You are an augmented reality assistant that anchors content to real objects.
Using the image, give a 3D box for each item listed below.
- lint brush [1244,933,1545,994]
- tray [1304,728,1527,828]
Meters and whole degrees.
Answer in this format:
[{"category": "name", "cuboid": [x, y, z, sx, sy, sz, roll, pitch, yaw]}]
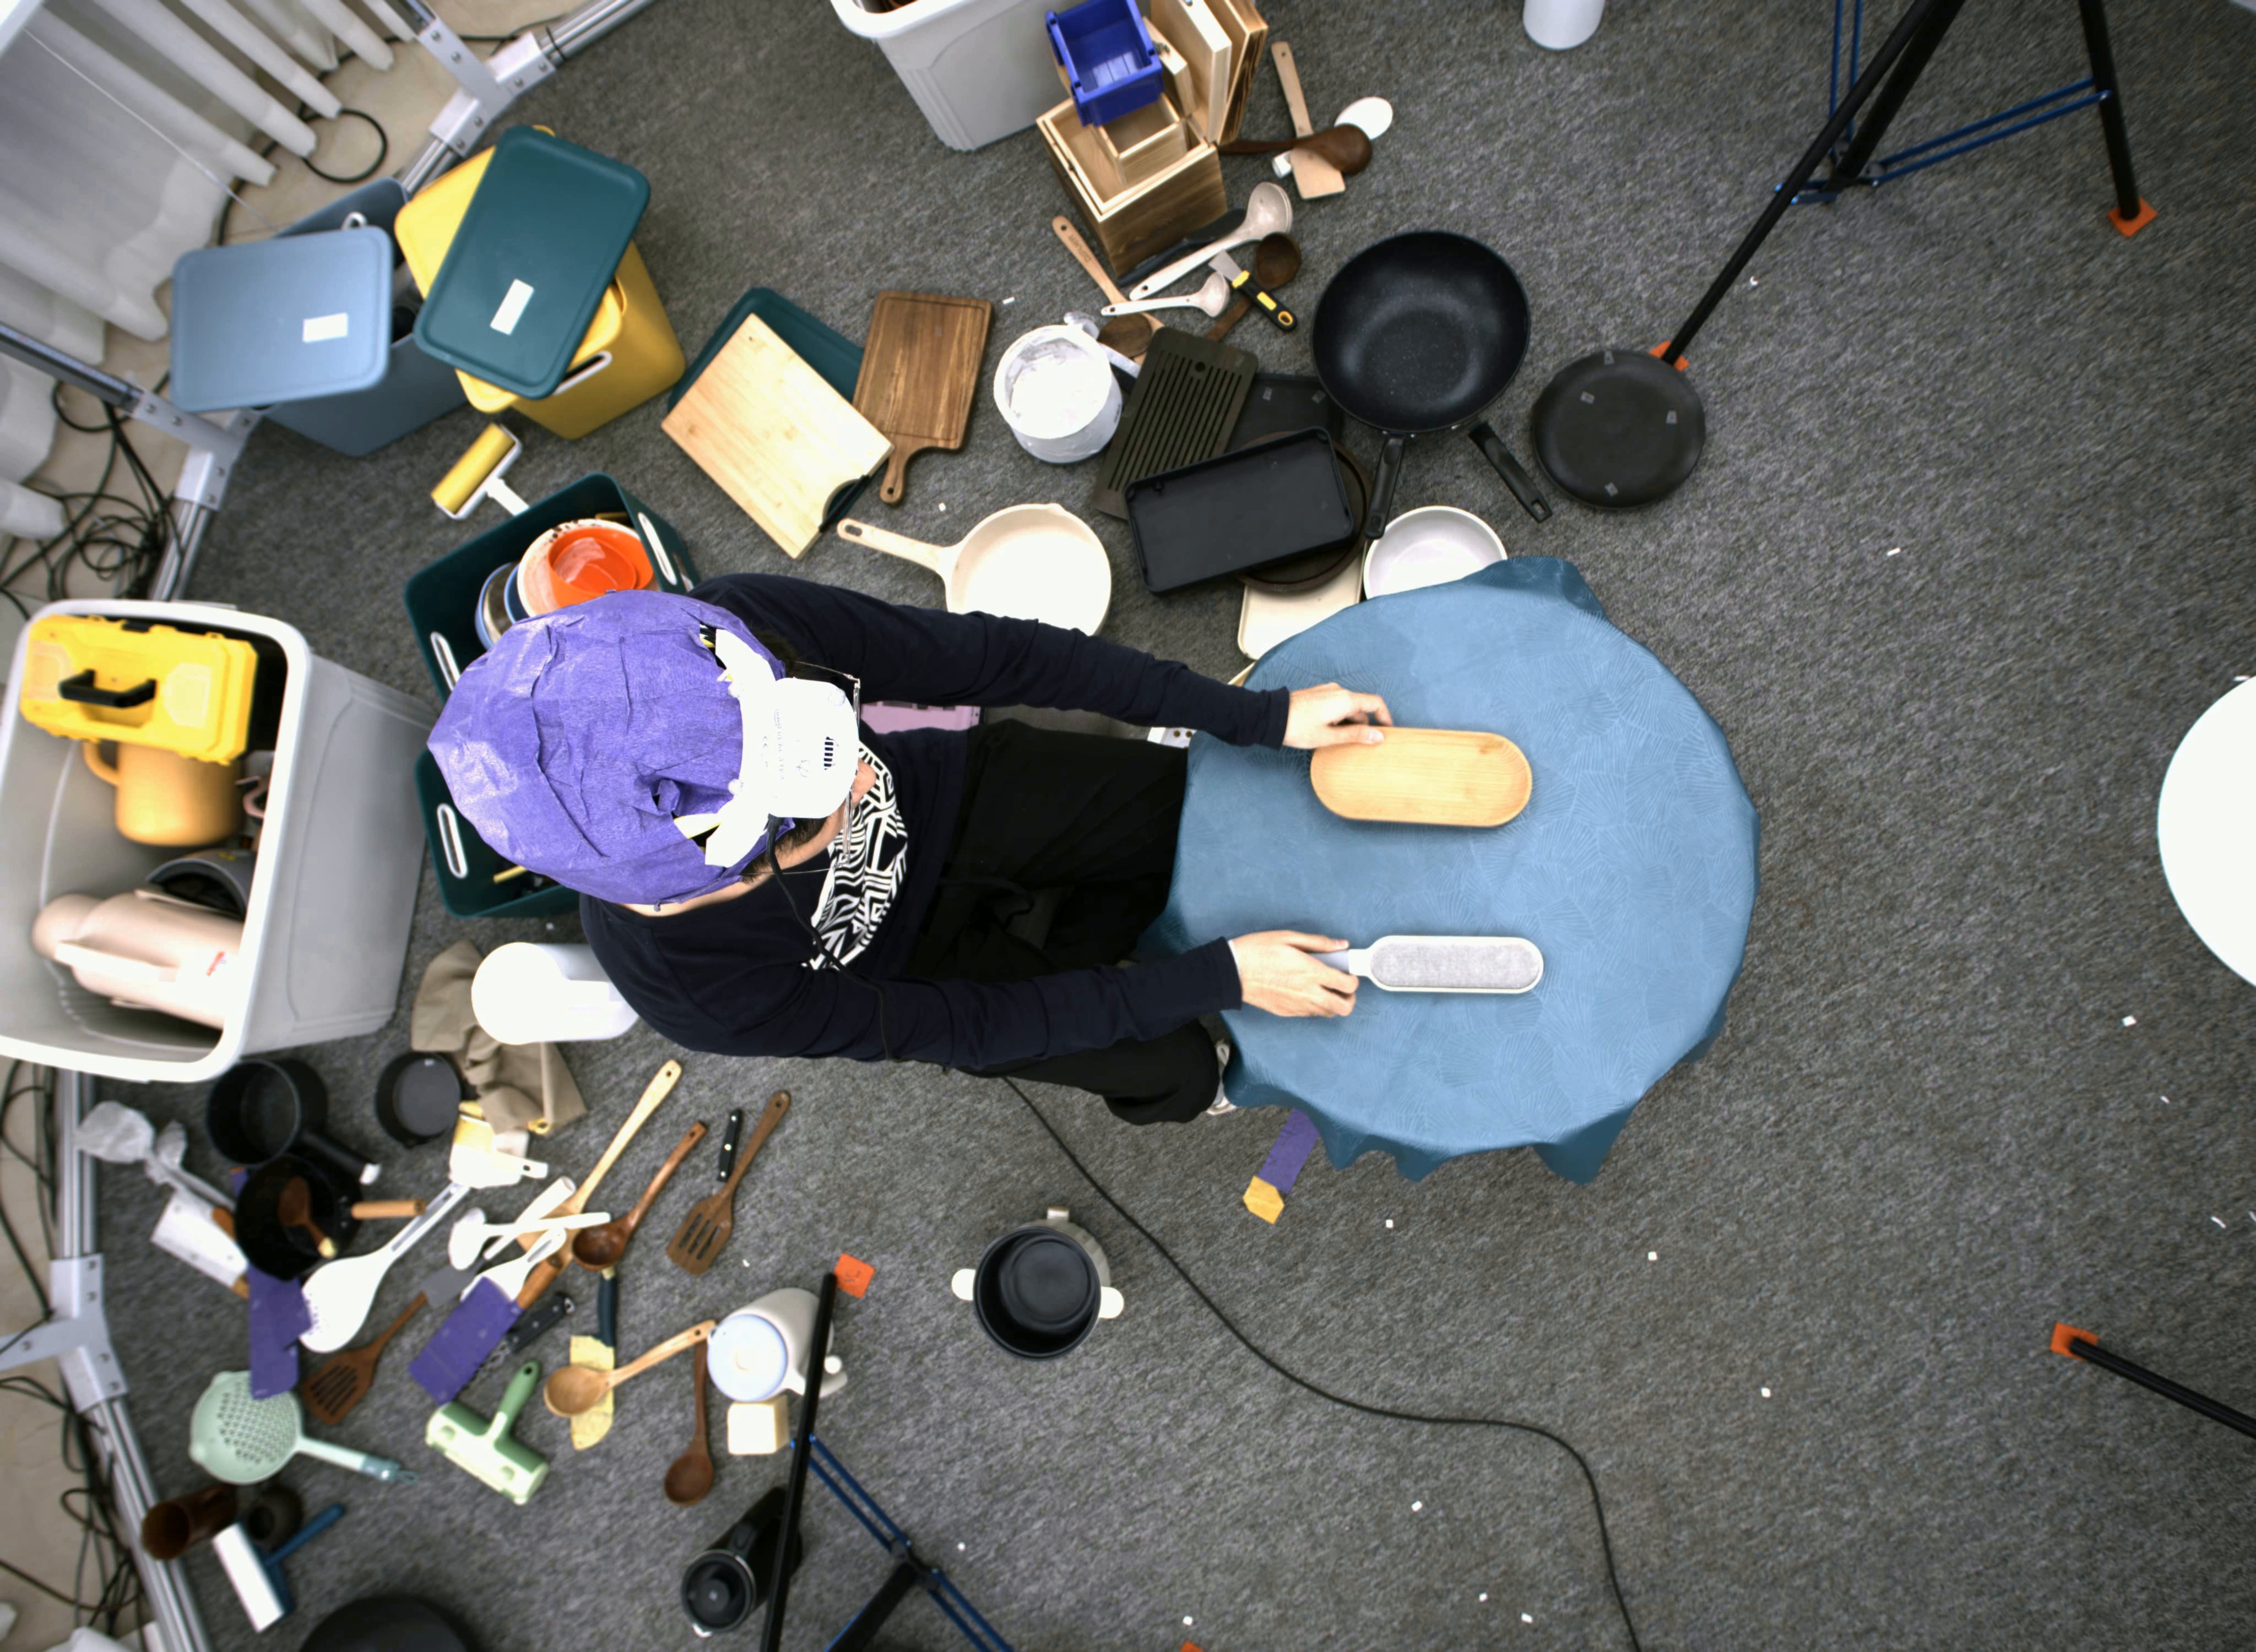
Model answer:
[{"category": "lint brush", "cuboid": [0.275, 0.139, 1.433, 0.310, 0.021, 0.060, 1, 93, 8]}, {"category": "tray", "cuboid": [0.300, -0.051, 1.438, 0.232, 0.020, 0.101, 1, 82, 5]}]
